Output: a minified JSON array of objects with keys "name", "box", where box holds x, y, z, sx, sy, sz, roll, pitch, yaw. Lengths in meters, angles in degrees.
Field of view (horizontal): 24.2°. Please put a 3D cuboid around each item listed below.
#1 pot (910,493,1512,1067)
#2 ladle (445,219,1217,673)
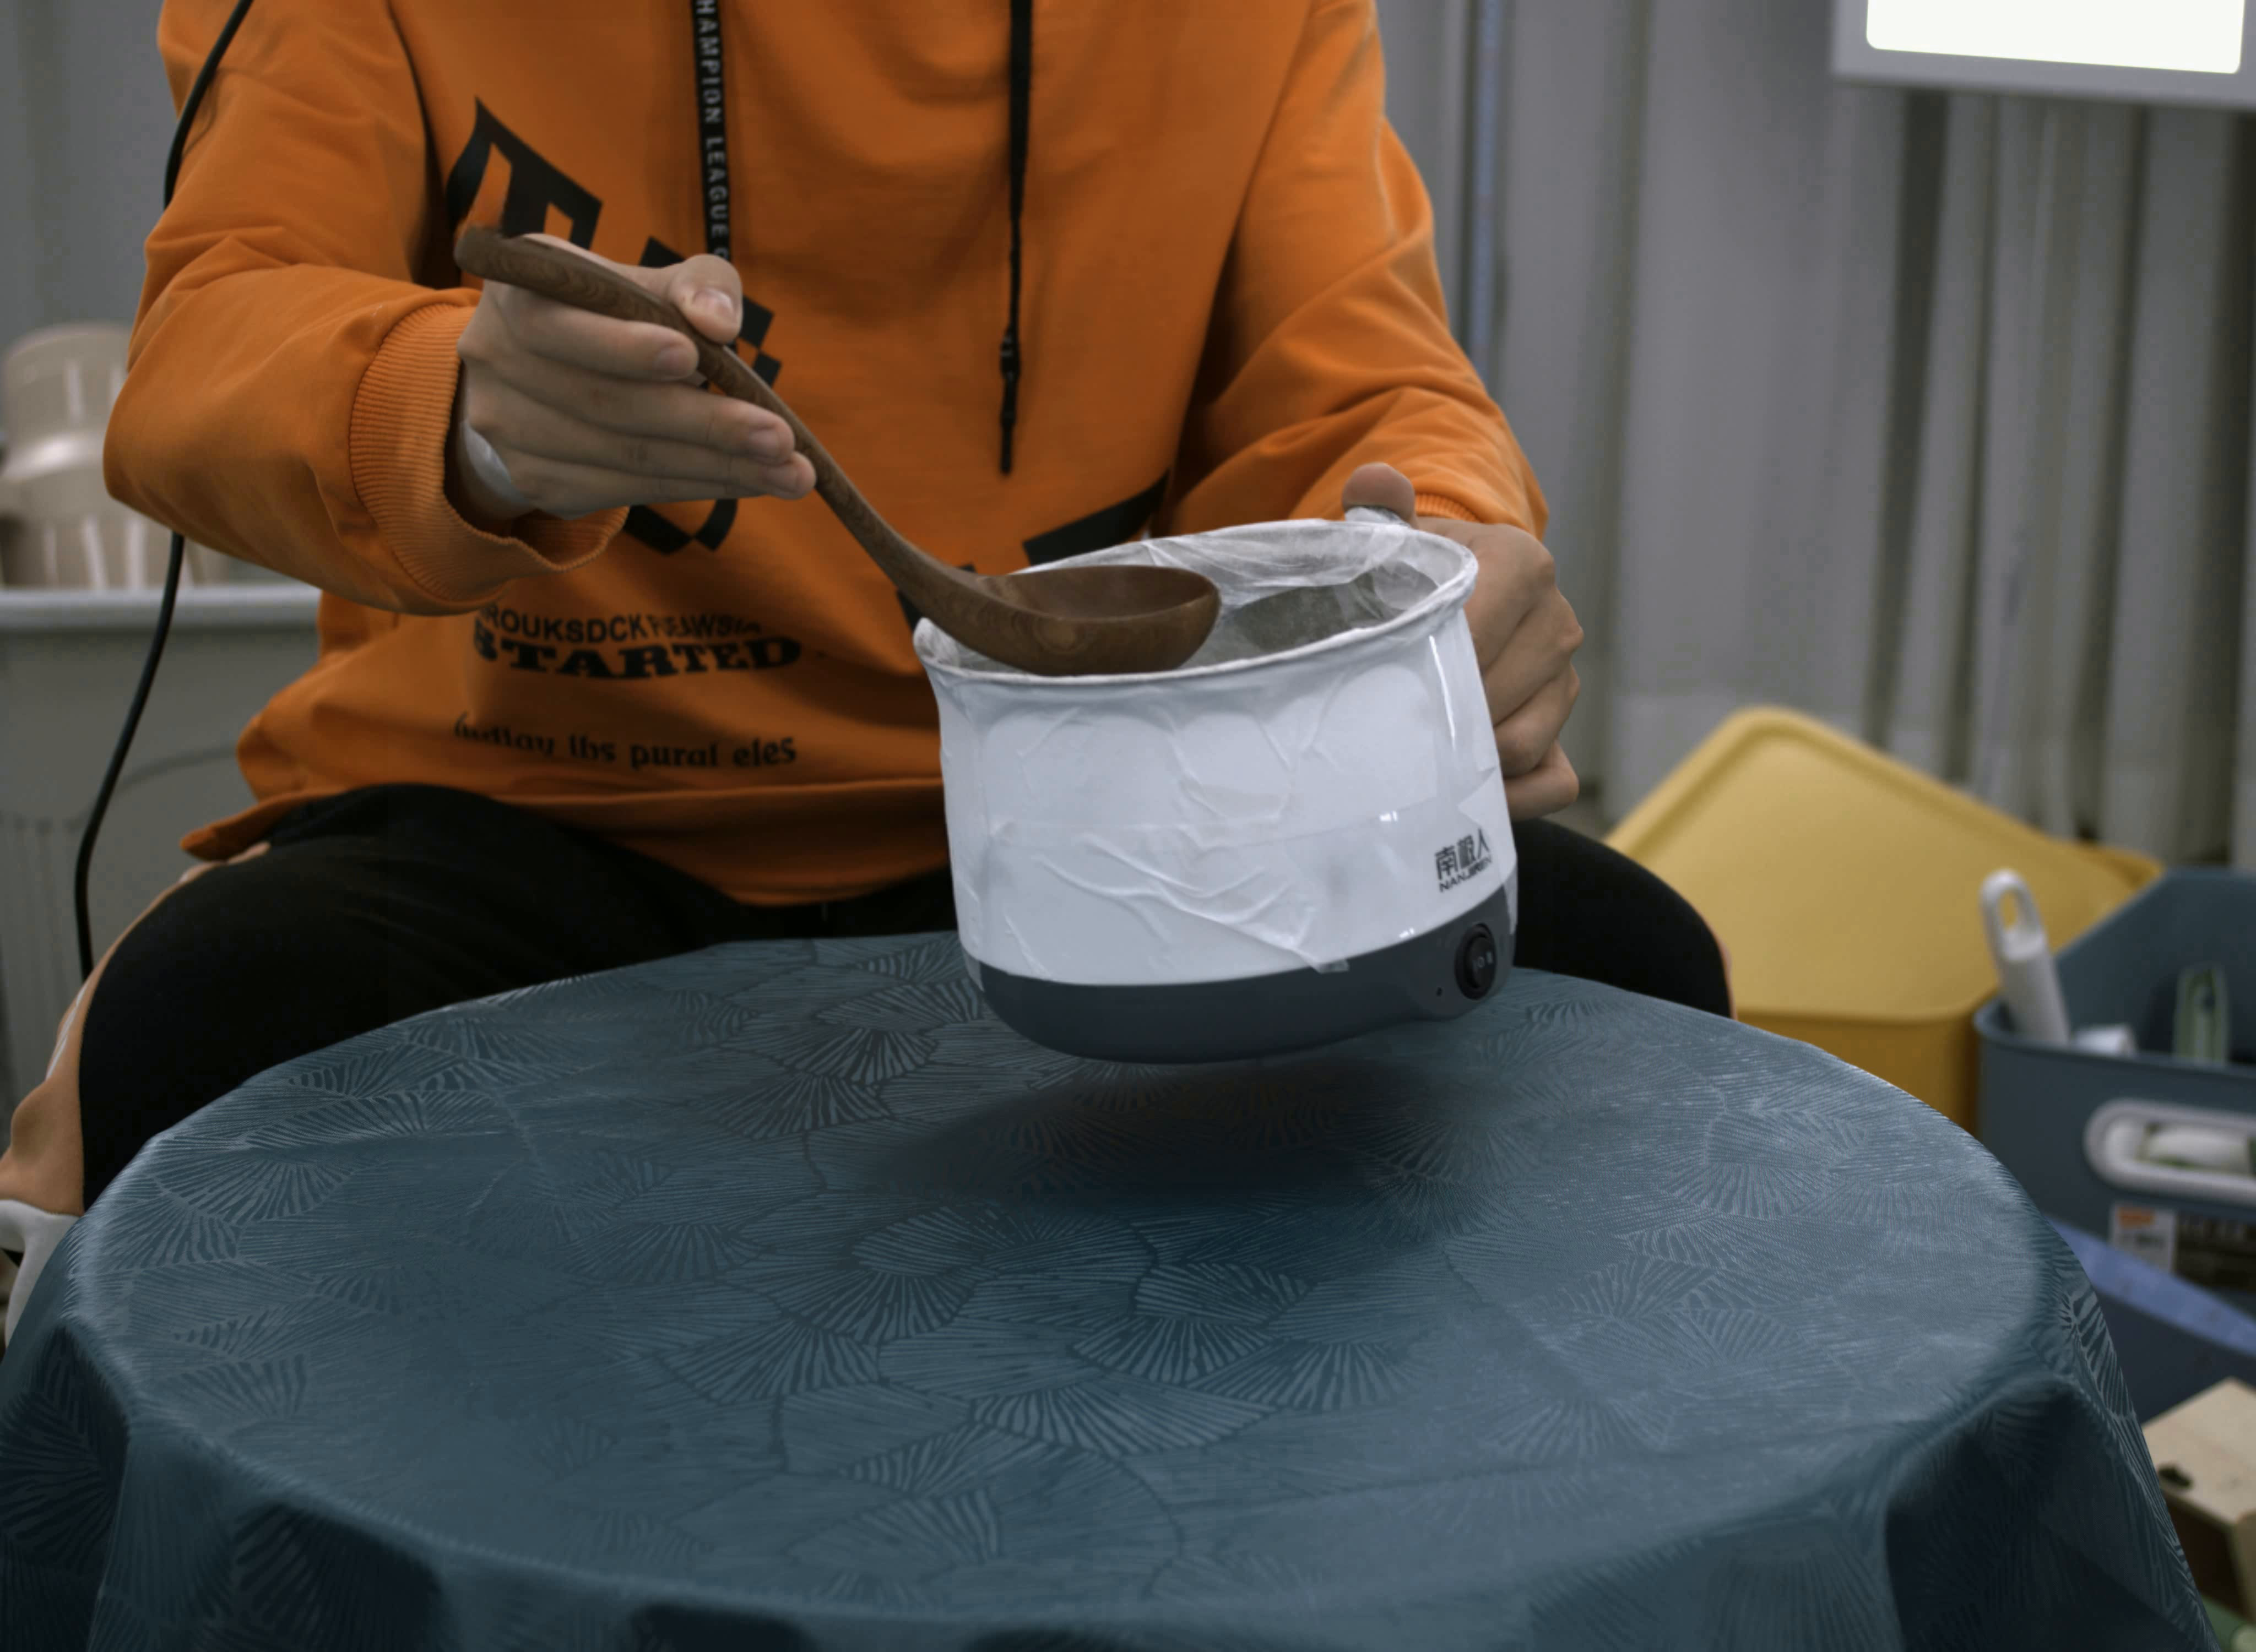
[{"name":"pot","box":[0.043,-0.020,1.663,0.176,0.138,0.234,4,21,33]},{"name":"ladle","box":[-0.085,-0.121,1.579,0.262,0.065,0.076,37,-1,-19]}]
